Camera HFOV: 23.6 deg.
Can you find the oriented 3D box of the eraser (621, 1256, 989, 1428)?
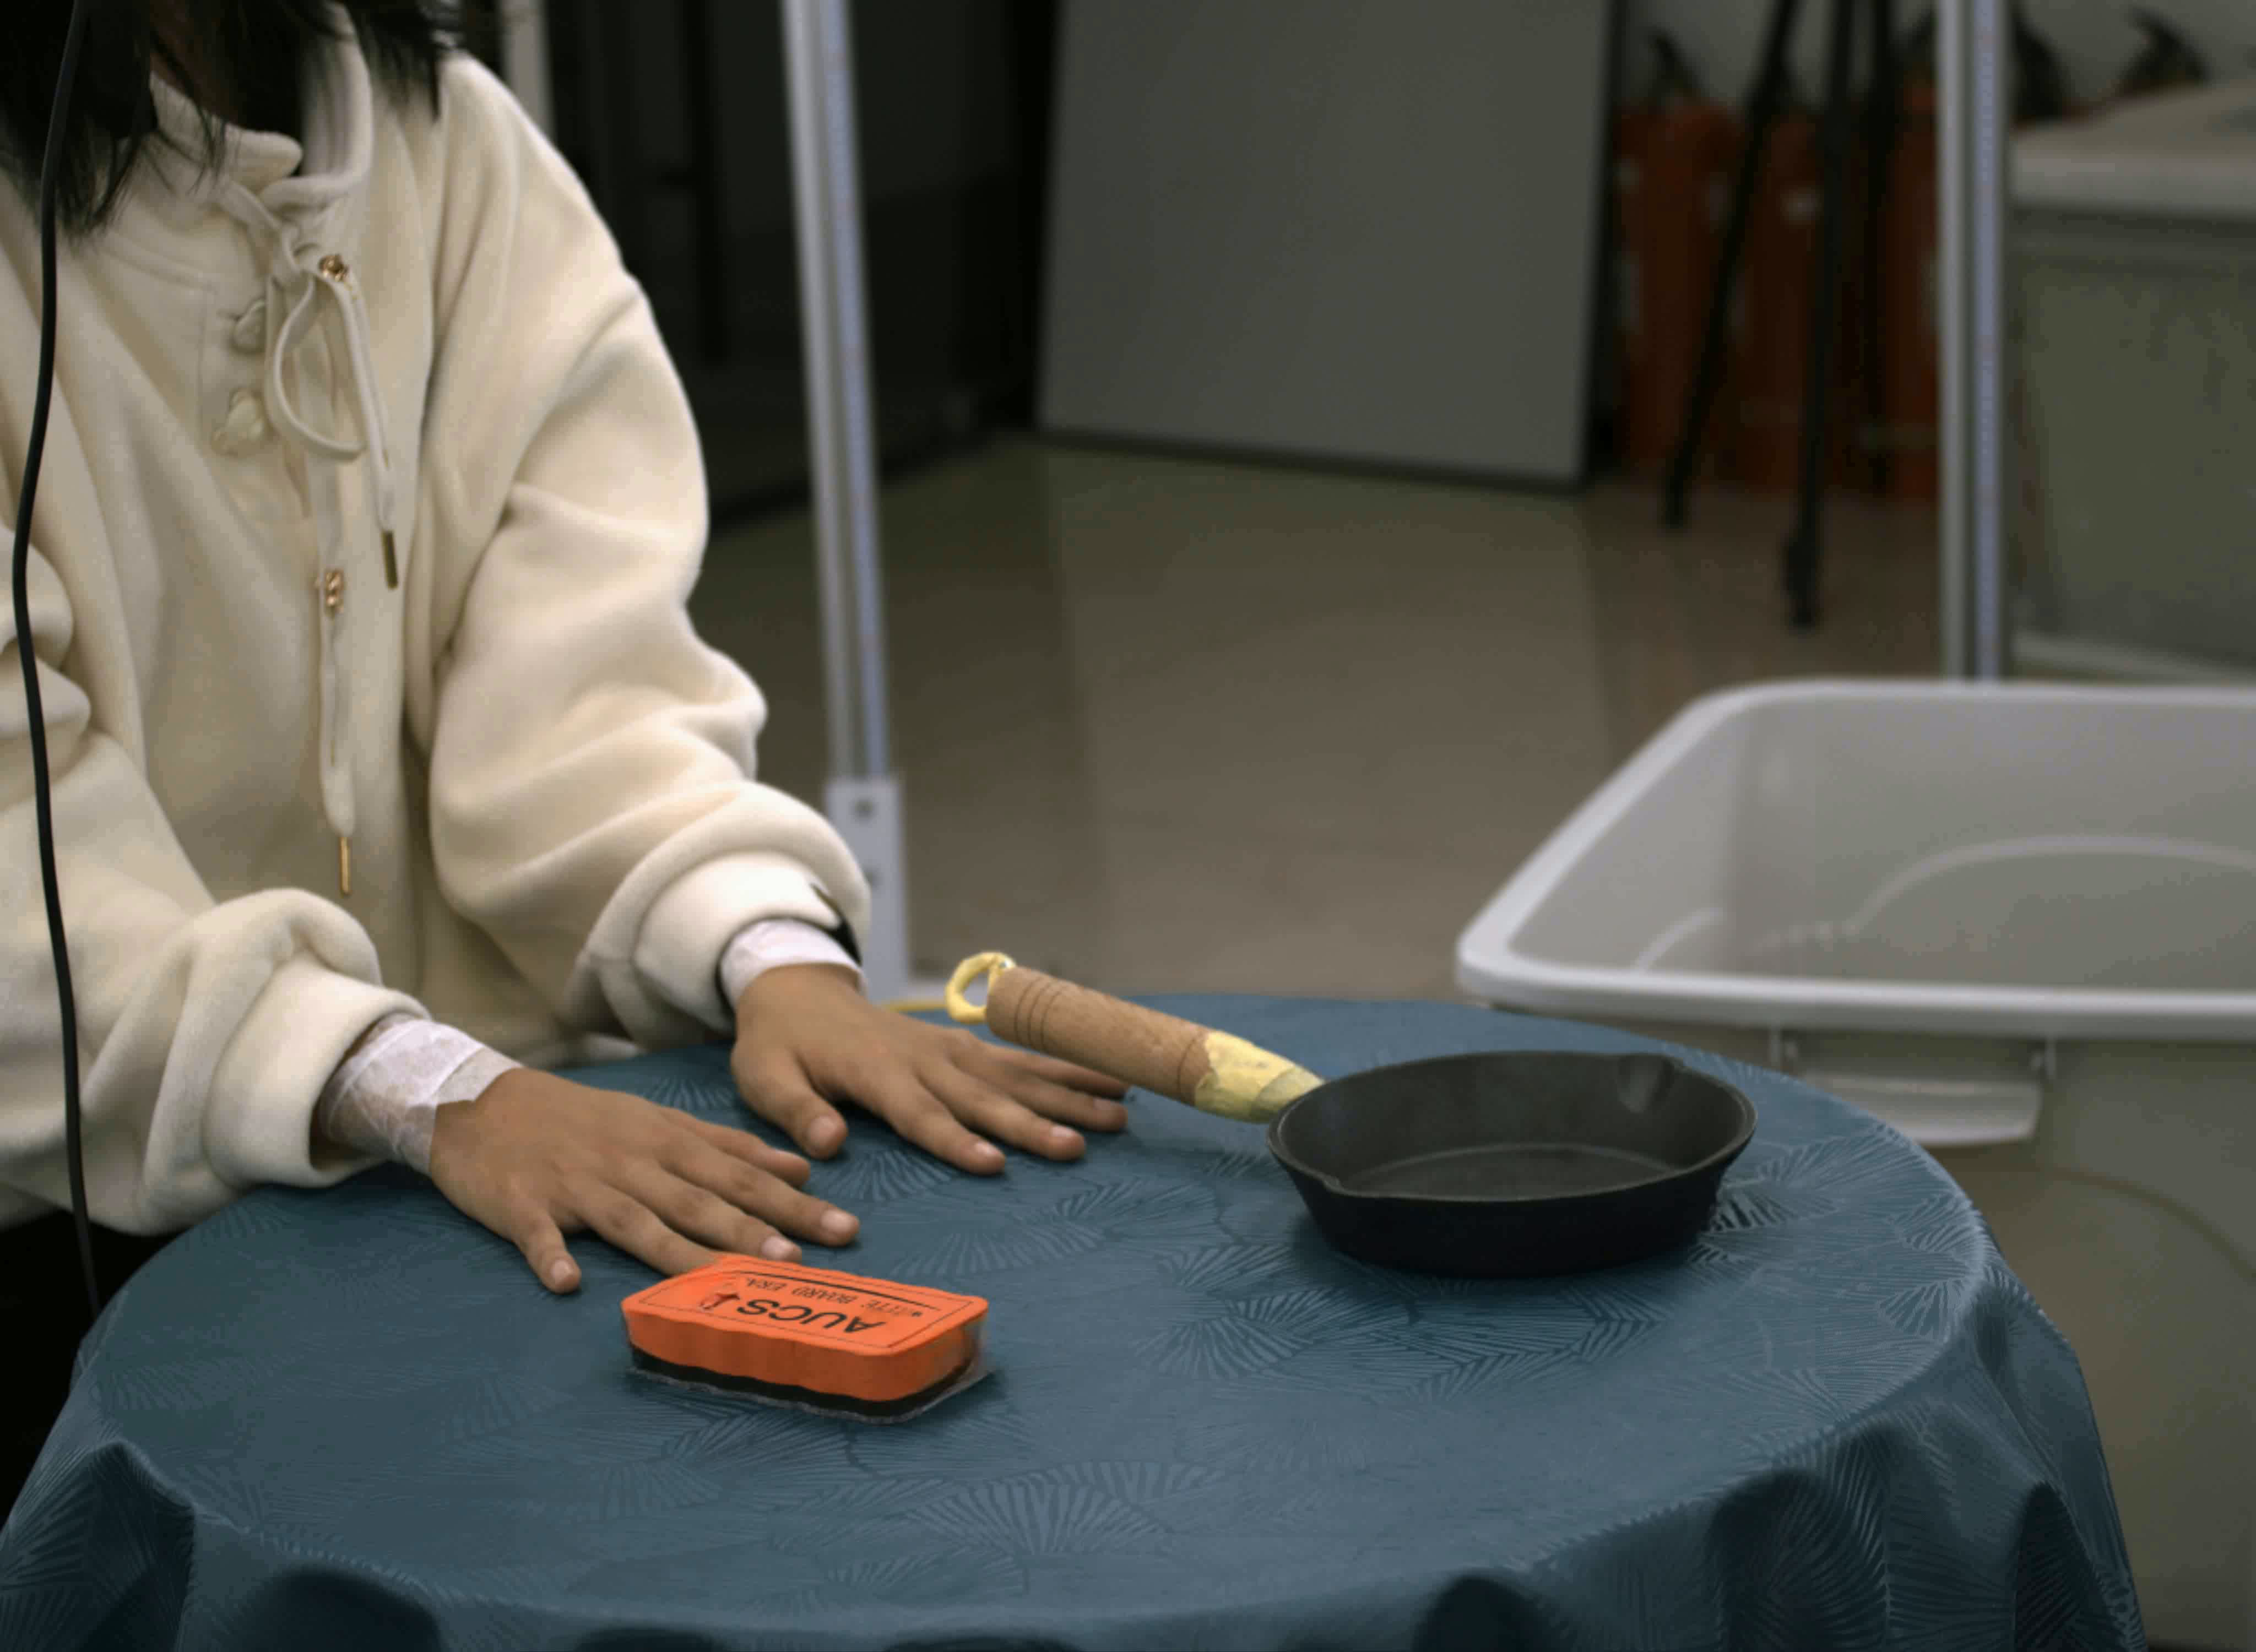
[{"bbox_3d":[-0.096,0.154,1.617,0.109,0.023,0.058,7,18,37],"label":"eraser"}]

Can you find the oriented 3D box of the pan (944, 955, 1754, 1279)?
[{"bbox_3d":[0.060,0.090,1.770,0.327,0.050,0.165,11,21,43],"label":"pan"}]
